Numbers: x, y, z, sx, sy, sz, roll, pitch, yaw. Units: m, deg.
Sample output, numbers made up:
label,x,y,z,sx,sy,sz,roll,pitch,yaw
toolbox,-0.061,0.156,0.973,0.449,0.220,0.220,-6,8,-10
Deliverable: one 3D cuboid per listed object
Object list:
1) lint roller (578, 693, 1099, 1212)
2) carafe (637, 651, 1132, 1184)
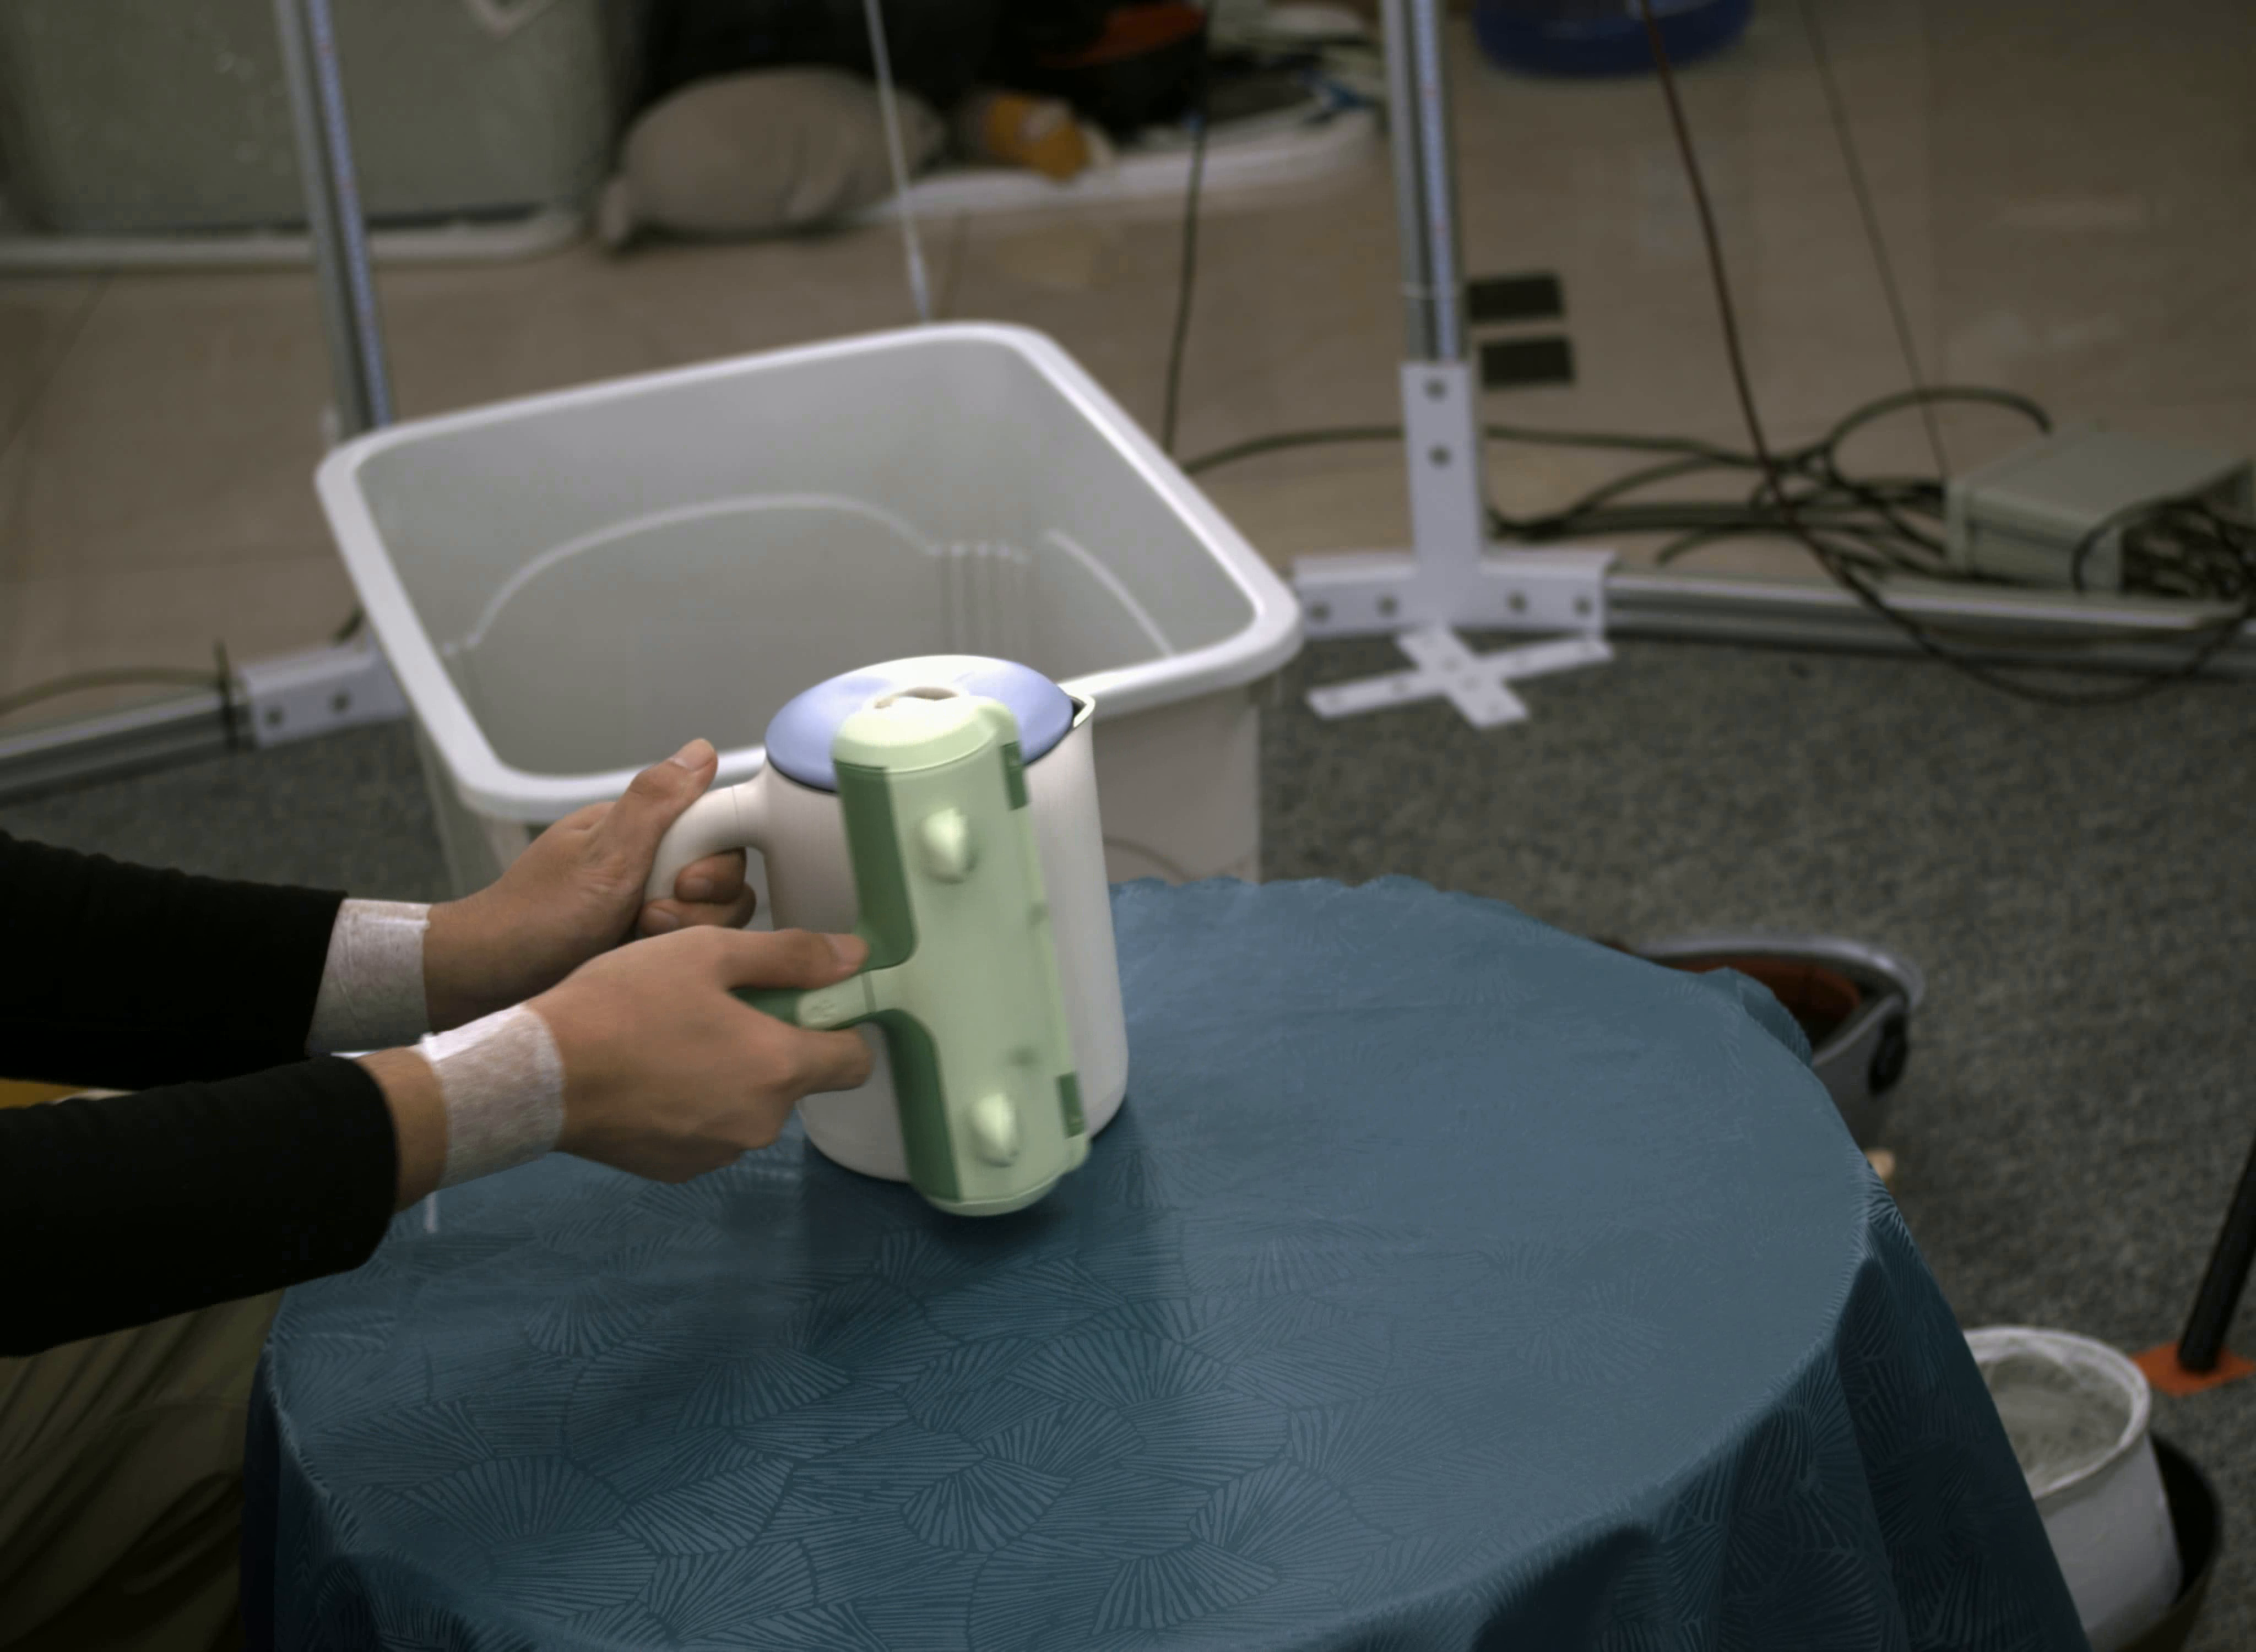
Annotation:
label,x,y,z,sx,sy,sz,roll,pitch,yaw
lint roller,-0.105,0.066,2.064,0.182,0.202,0.081,-19,27,-21
carafe,-0.095,0.040,2.178,0.190,0.185,0.130,-12,26,-7
